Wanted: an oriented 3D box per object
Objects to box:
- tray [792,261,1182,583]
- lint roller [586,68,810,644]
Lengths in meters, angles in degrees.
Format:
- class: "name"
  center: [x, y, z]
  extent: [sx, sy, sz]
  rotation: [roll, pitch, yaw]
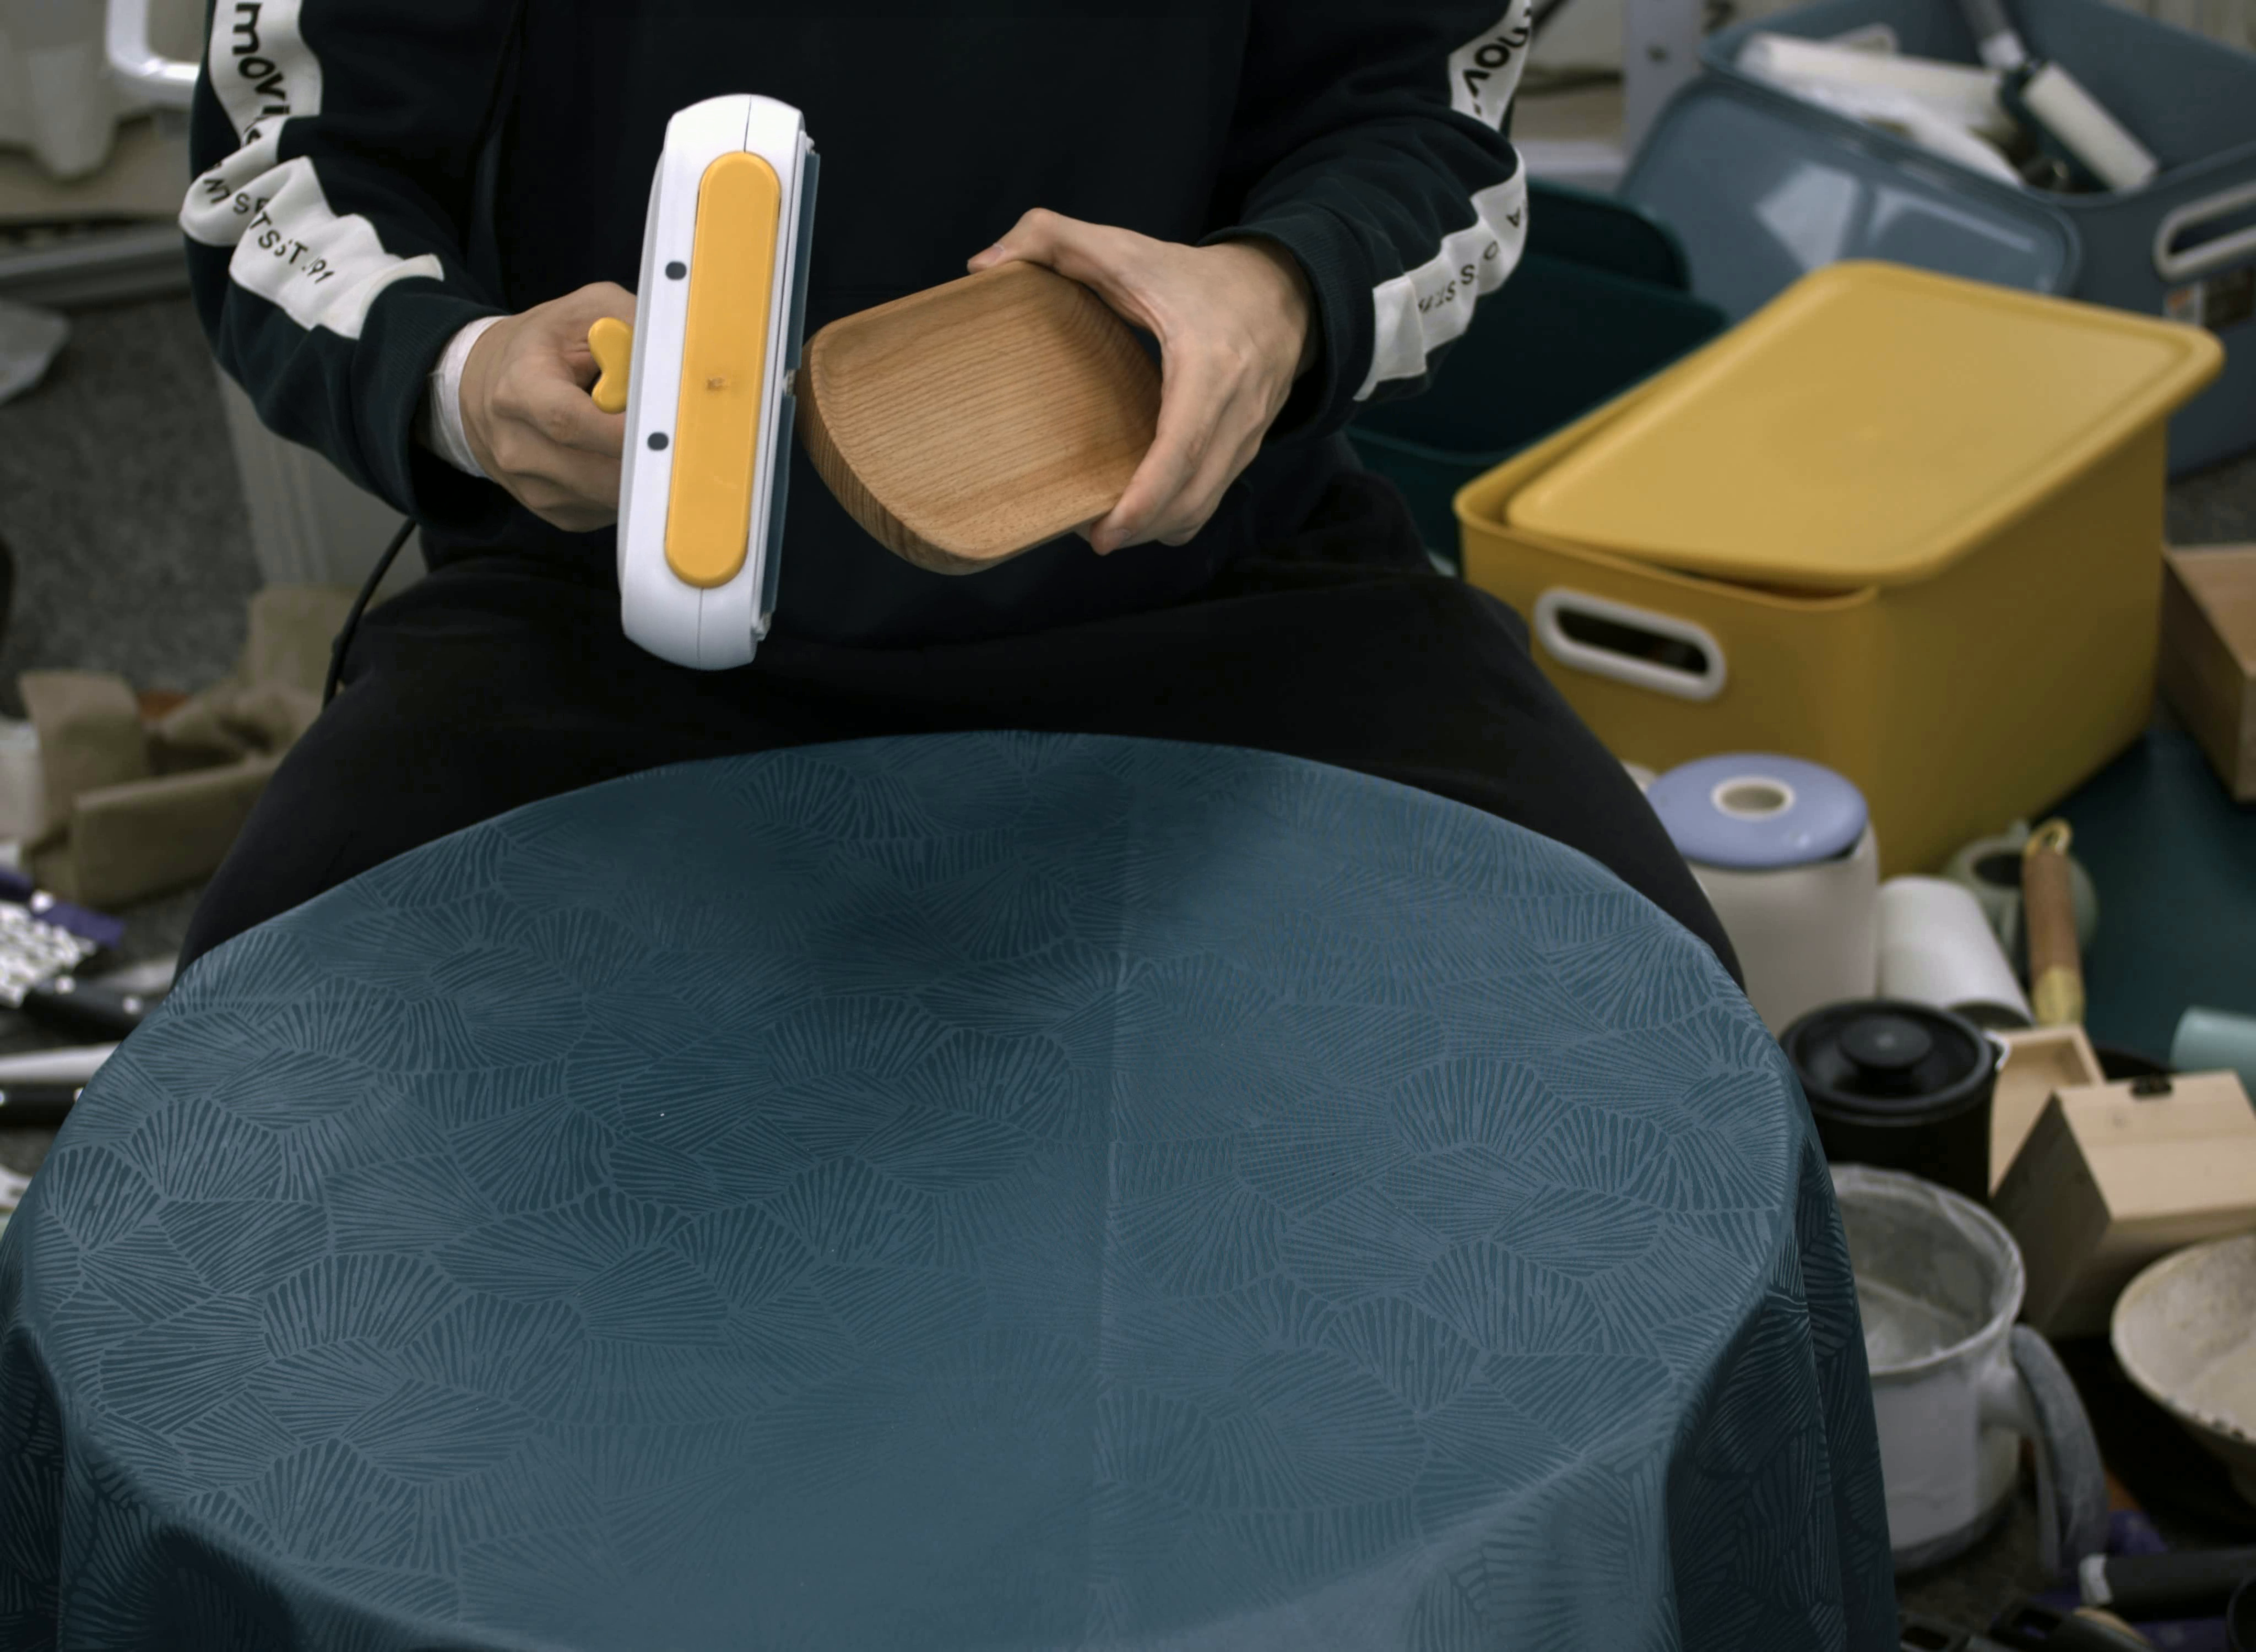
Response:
- class: "tray"
  center: [-0.048, -0.142, 1.974]
  extent: [0.020, 0.102, 0.234]
  rotation: [-38, -4, 29]
- class: "lint roller"
  center: [-0.153, -0.151, 1.947]
  extent: [0.074, 0.195, 0.191]
  rotation: [1, -8, -9]
